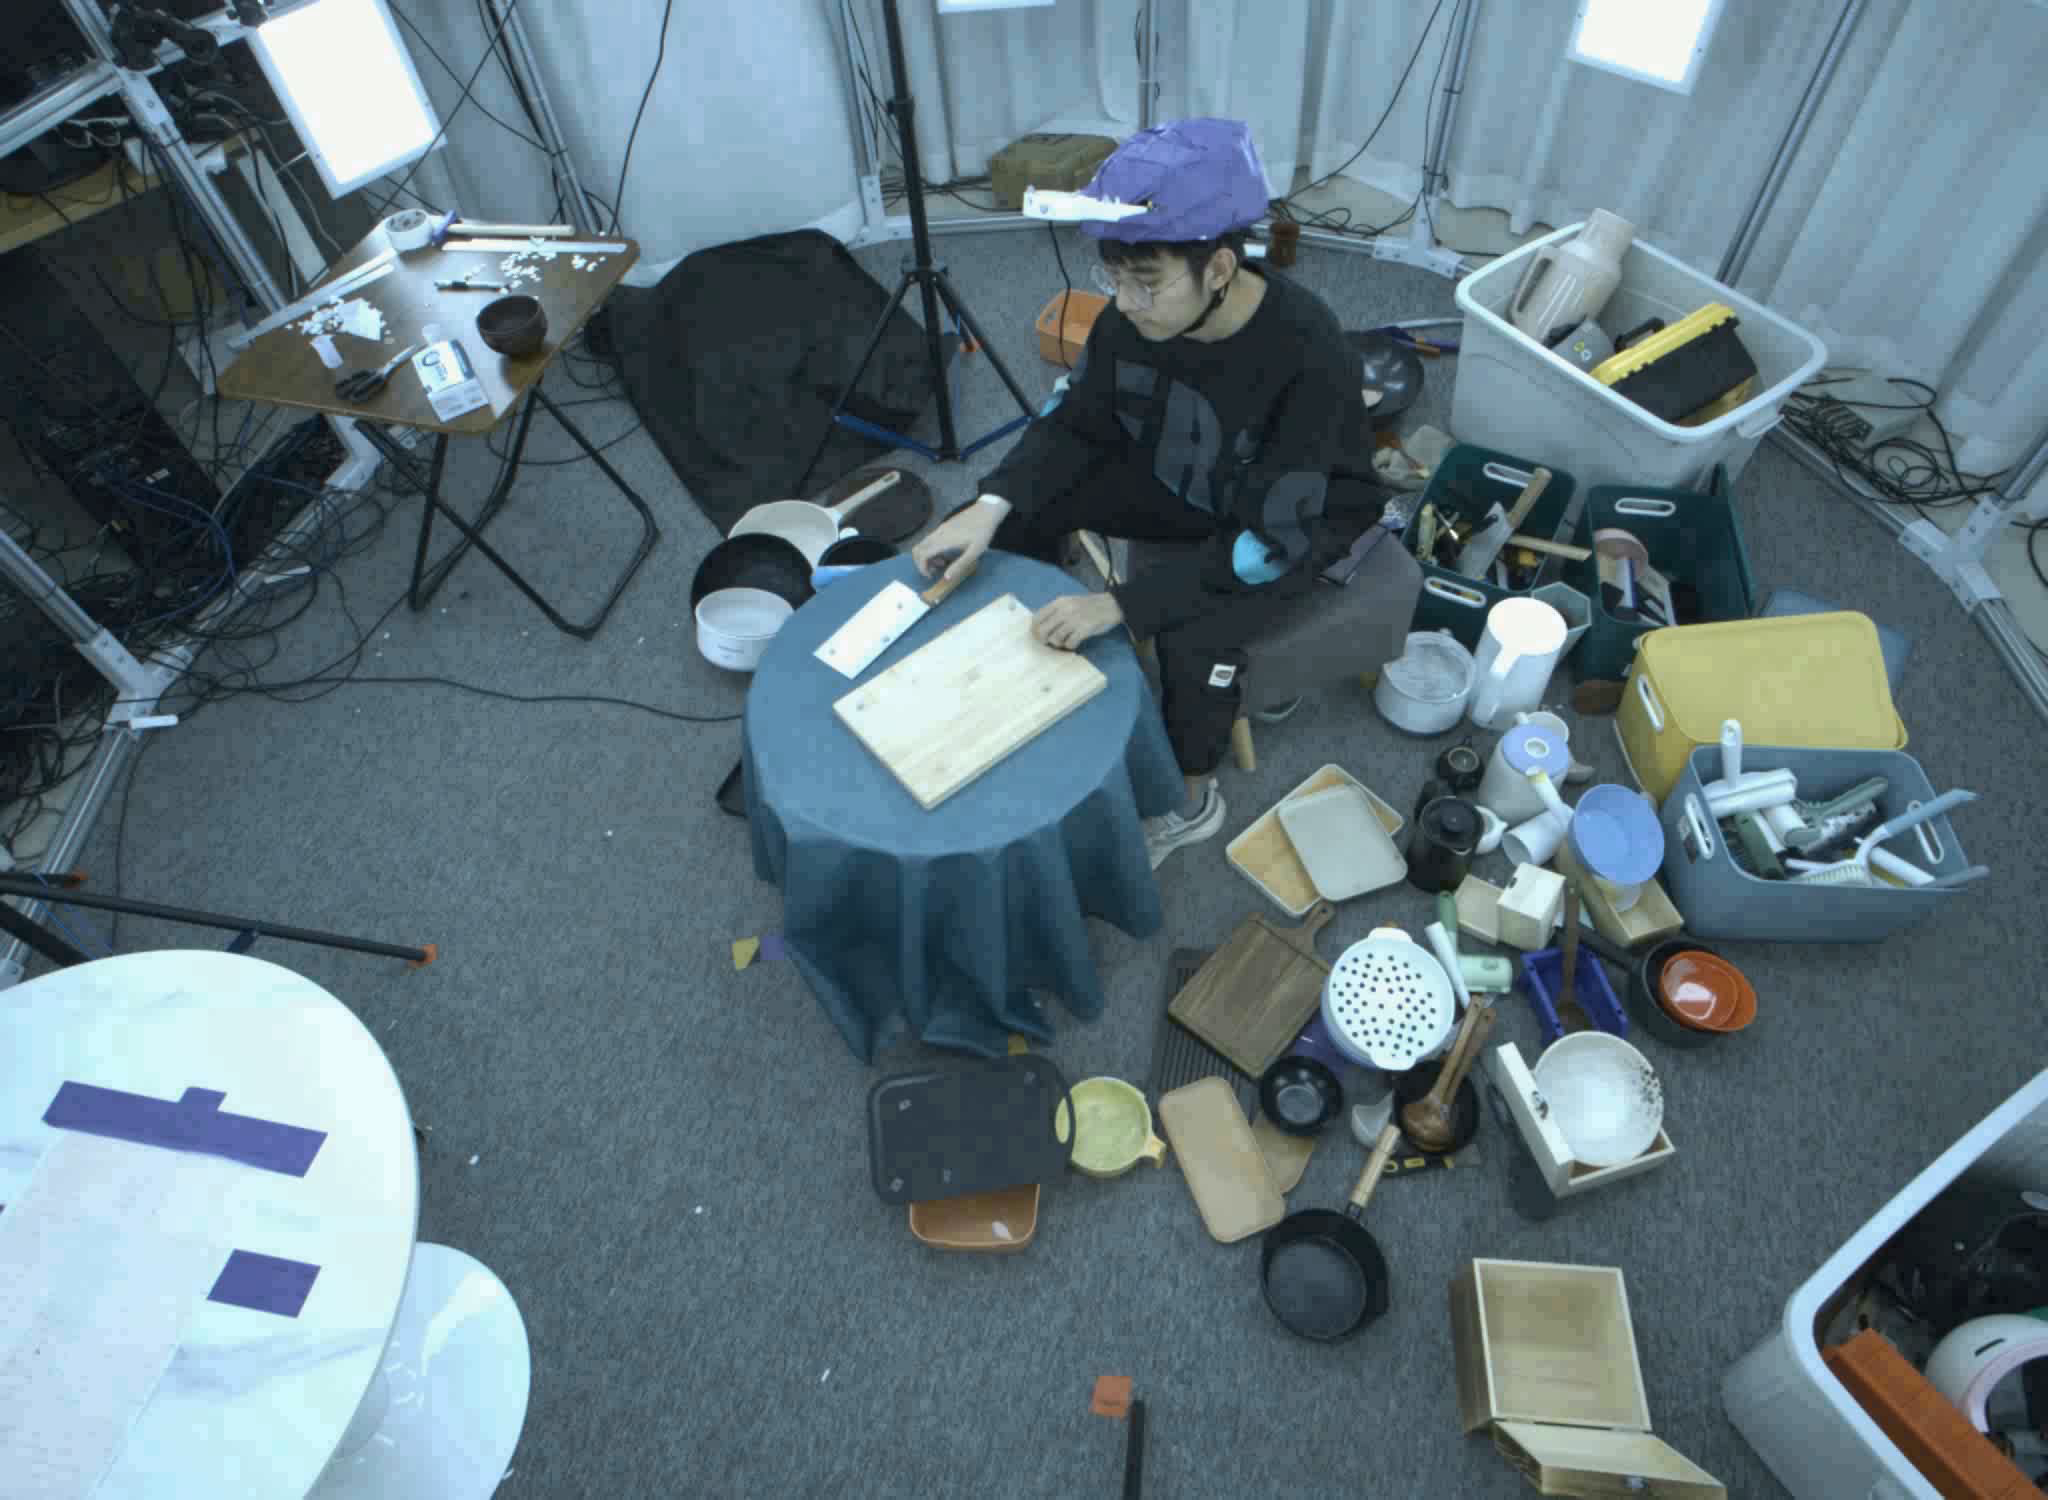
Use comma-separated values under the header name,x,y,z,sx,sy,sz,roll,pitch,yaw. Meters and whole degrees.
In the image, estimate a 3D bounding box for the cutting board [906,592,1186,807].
name,x,y,z,sx,sy,sz,roll,pitch,yaw
cutting board,0.029,-0.085,1.836,0.351,0.024,0.246,-32,60,-19

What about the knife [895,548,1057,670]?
name,x,y,z,sx,sy,sz,roll,pitch,yaw
knife,-0.080,-0.238,1.949,0.091,0.021,0.307,37,66,26
